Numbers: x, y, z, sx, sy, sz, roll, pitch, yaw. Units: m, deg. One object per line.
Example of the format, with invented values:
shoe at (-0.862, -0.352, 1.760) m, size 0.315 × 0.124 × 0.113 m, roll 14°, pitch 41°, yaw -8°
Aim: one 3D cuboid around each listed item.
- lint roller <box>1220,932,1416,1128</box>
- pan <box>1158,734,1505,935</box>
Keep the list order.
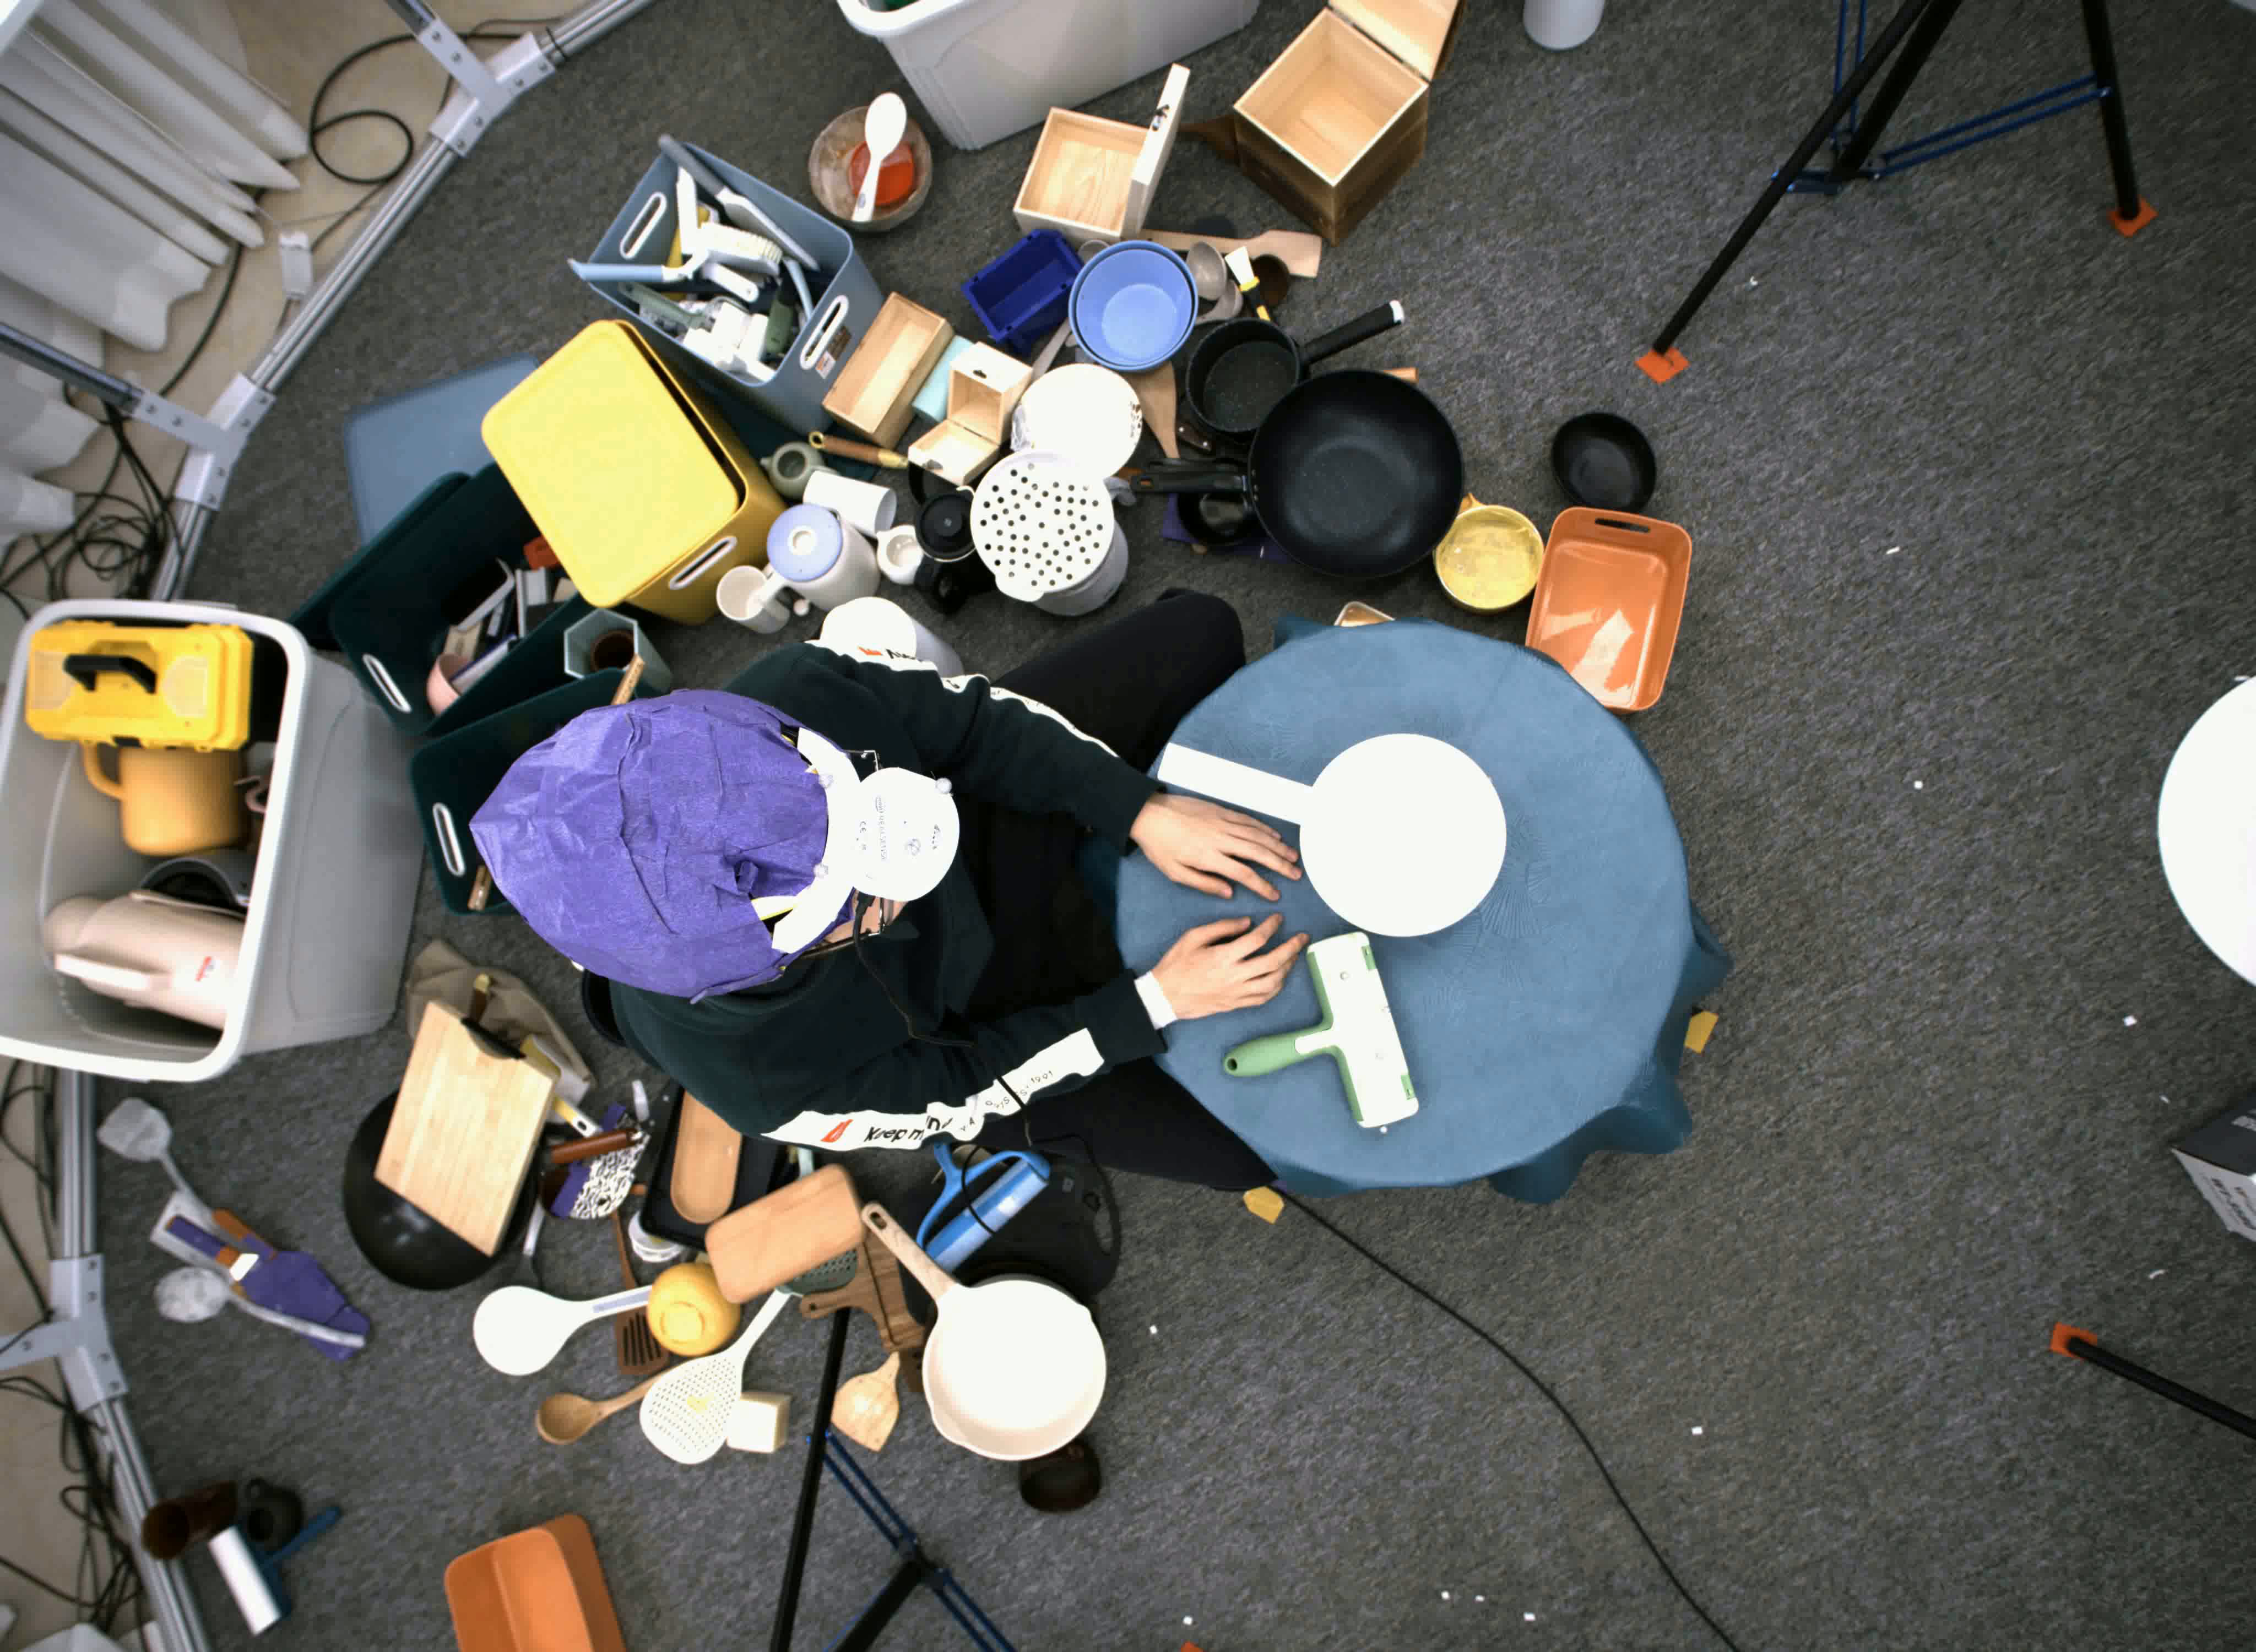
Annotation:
lint roller at (0.183, 0.223, 1.426) m, size 0.184 × 0.082 × 0.197 m, roll -16°, pitch 84°, yaw 4°
pan at (0.207, -0.013, 1.423) m, size 0.355 × 0.102 × 0.201 m, roll 18°, pitch 91°, yaw 12°
